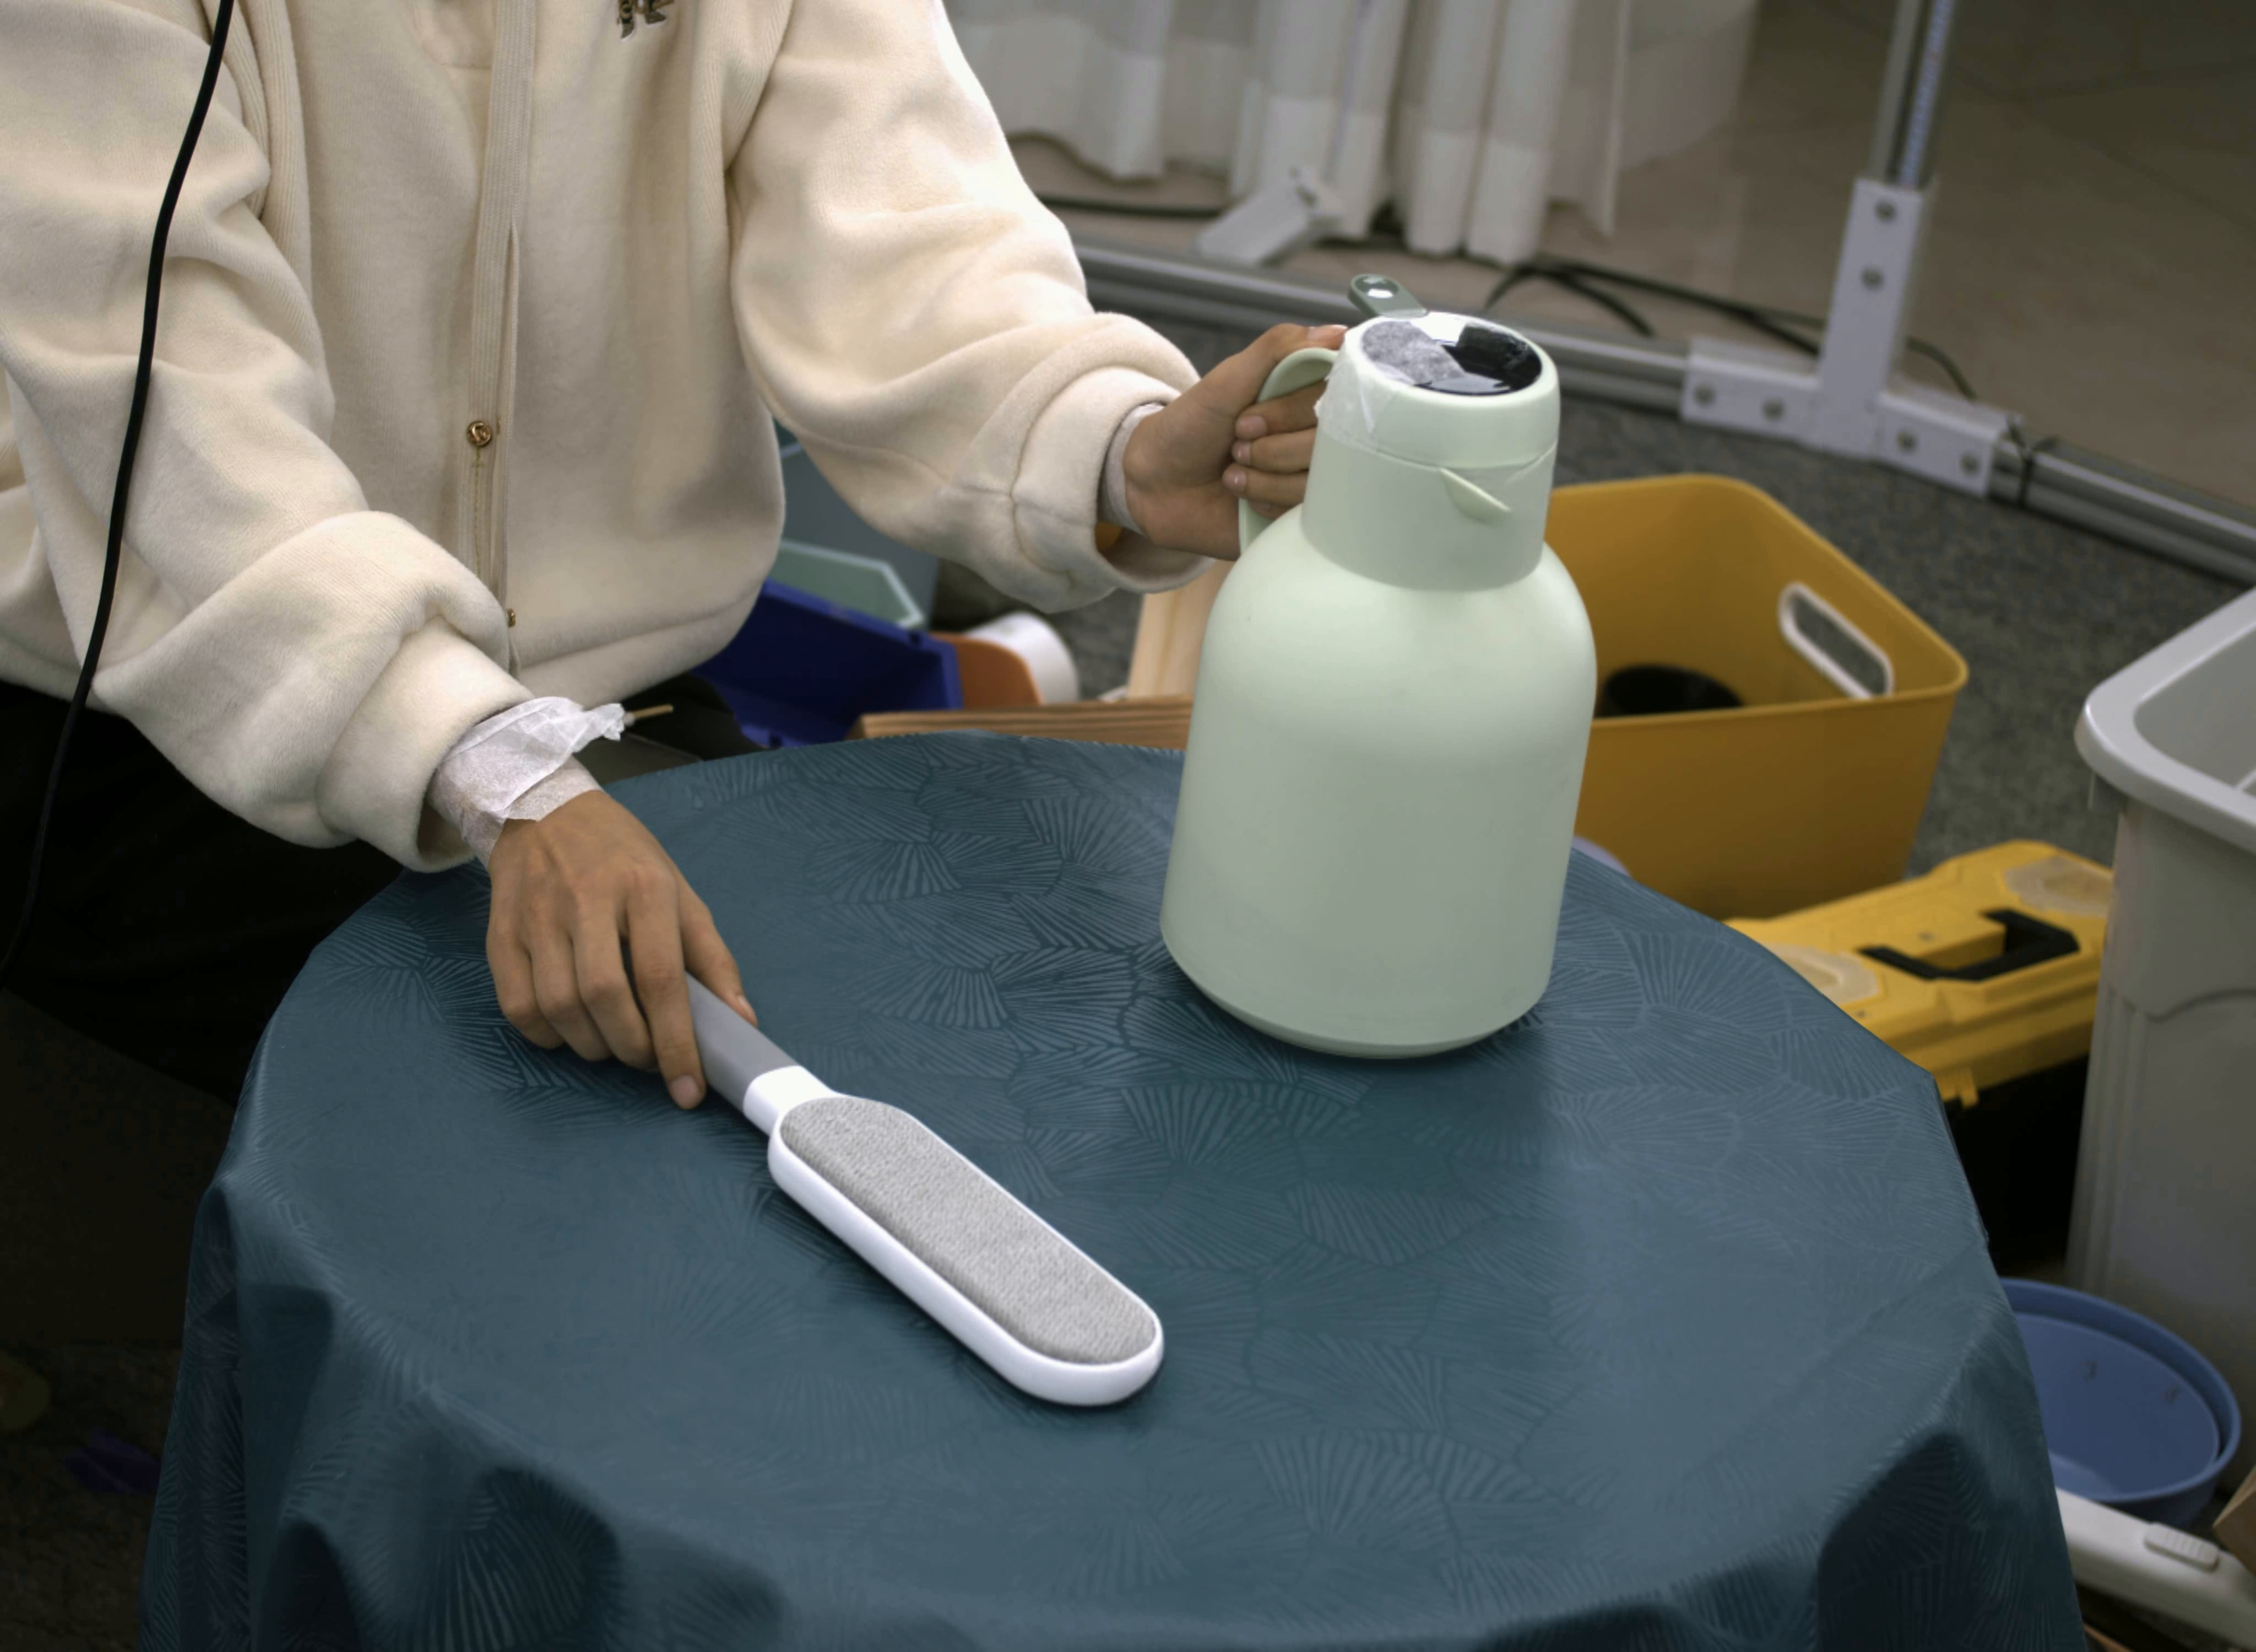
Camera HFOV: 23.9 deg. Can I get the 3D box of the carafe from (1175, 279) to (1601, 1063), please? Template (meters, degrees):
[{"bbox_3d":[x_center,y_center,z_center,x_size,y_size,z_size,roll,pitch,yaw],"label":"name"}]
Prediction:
[{"bbox_3d":[0.092,-0.060,1.904,0.143,0.256,0.188,-8,29,-24],"label":"carafe"}]

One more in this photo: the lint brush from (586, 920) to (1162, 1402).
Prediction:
[{"bbox_3d":[-0.092,0.107,1.779,0.060,0.021,0.311,-15,36,-34],"label":"lint brush"}]
